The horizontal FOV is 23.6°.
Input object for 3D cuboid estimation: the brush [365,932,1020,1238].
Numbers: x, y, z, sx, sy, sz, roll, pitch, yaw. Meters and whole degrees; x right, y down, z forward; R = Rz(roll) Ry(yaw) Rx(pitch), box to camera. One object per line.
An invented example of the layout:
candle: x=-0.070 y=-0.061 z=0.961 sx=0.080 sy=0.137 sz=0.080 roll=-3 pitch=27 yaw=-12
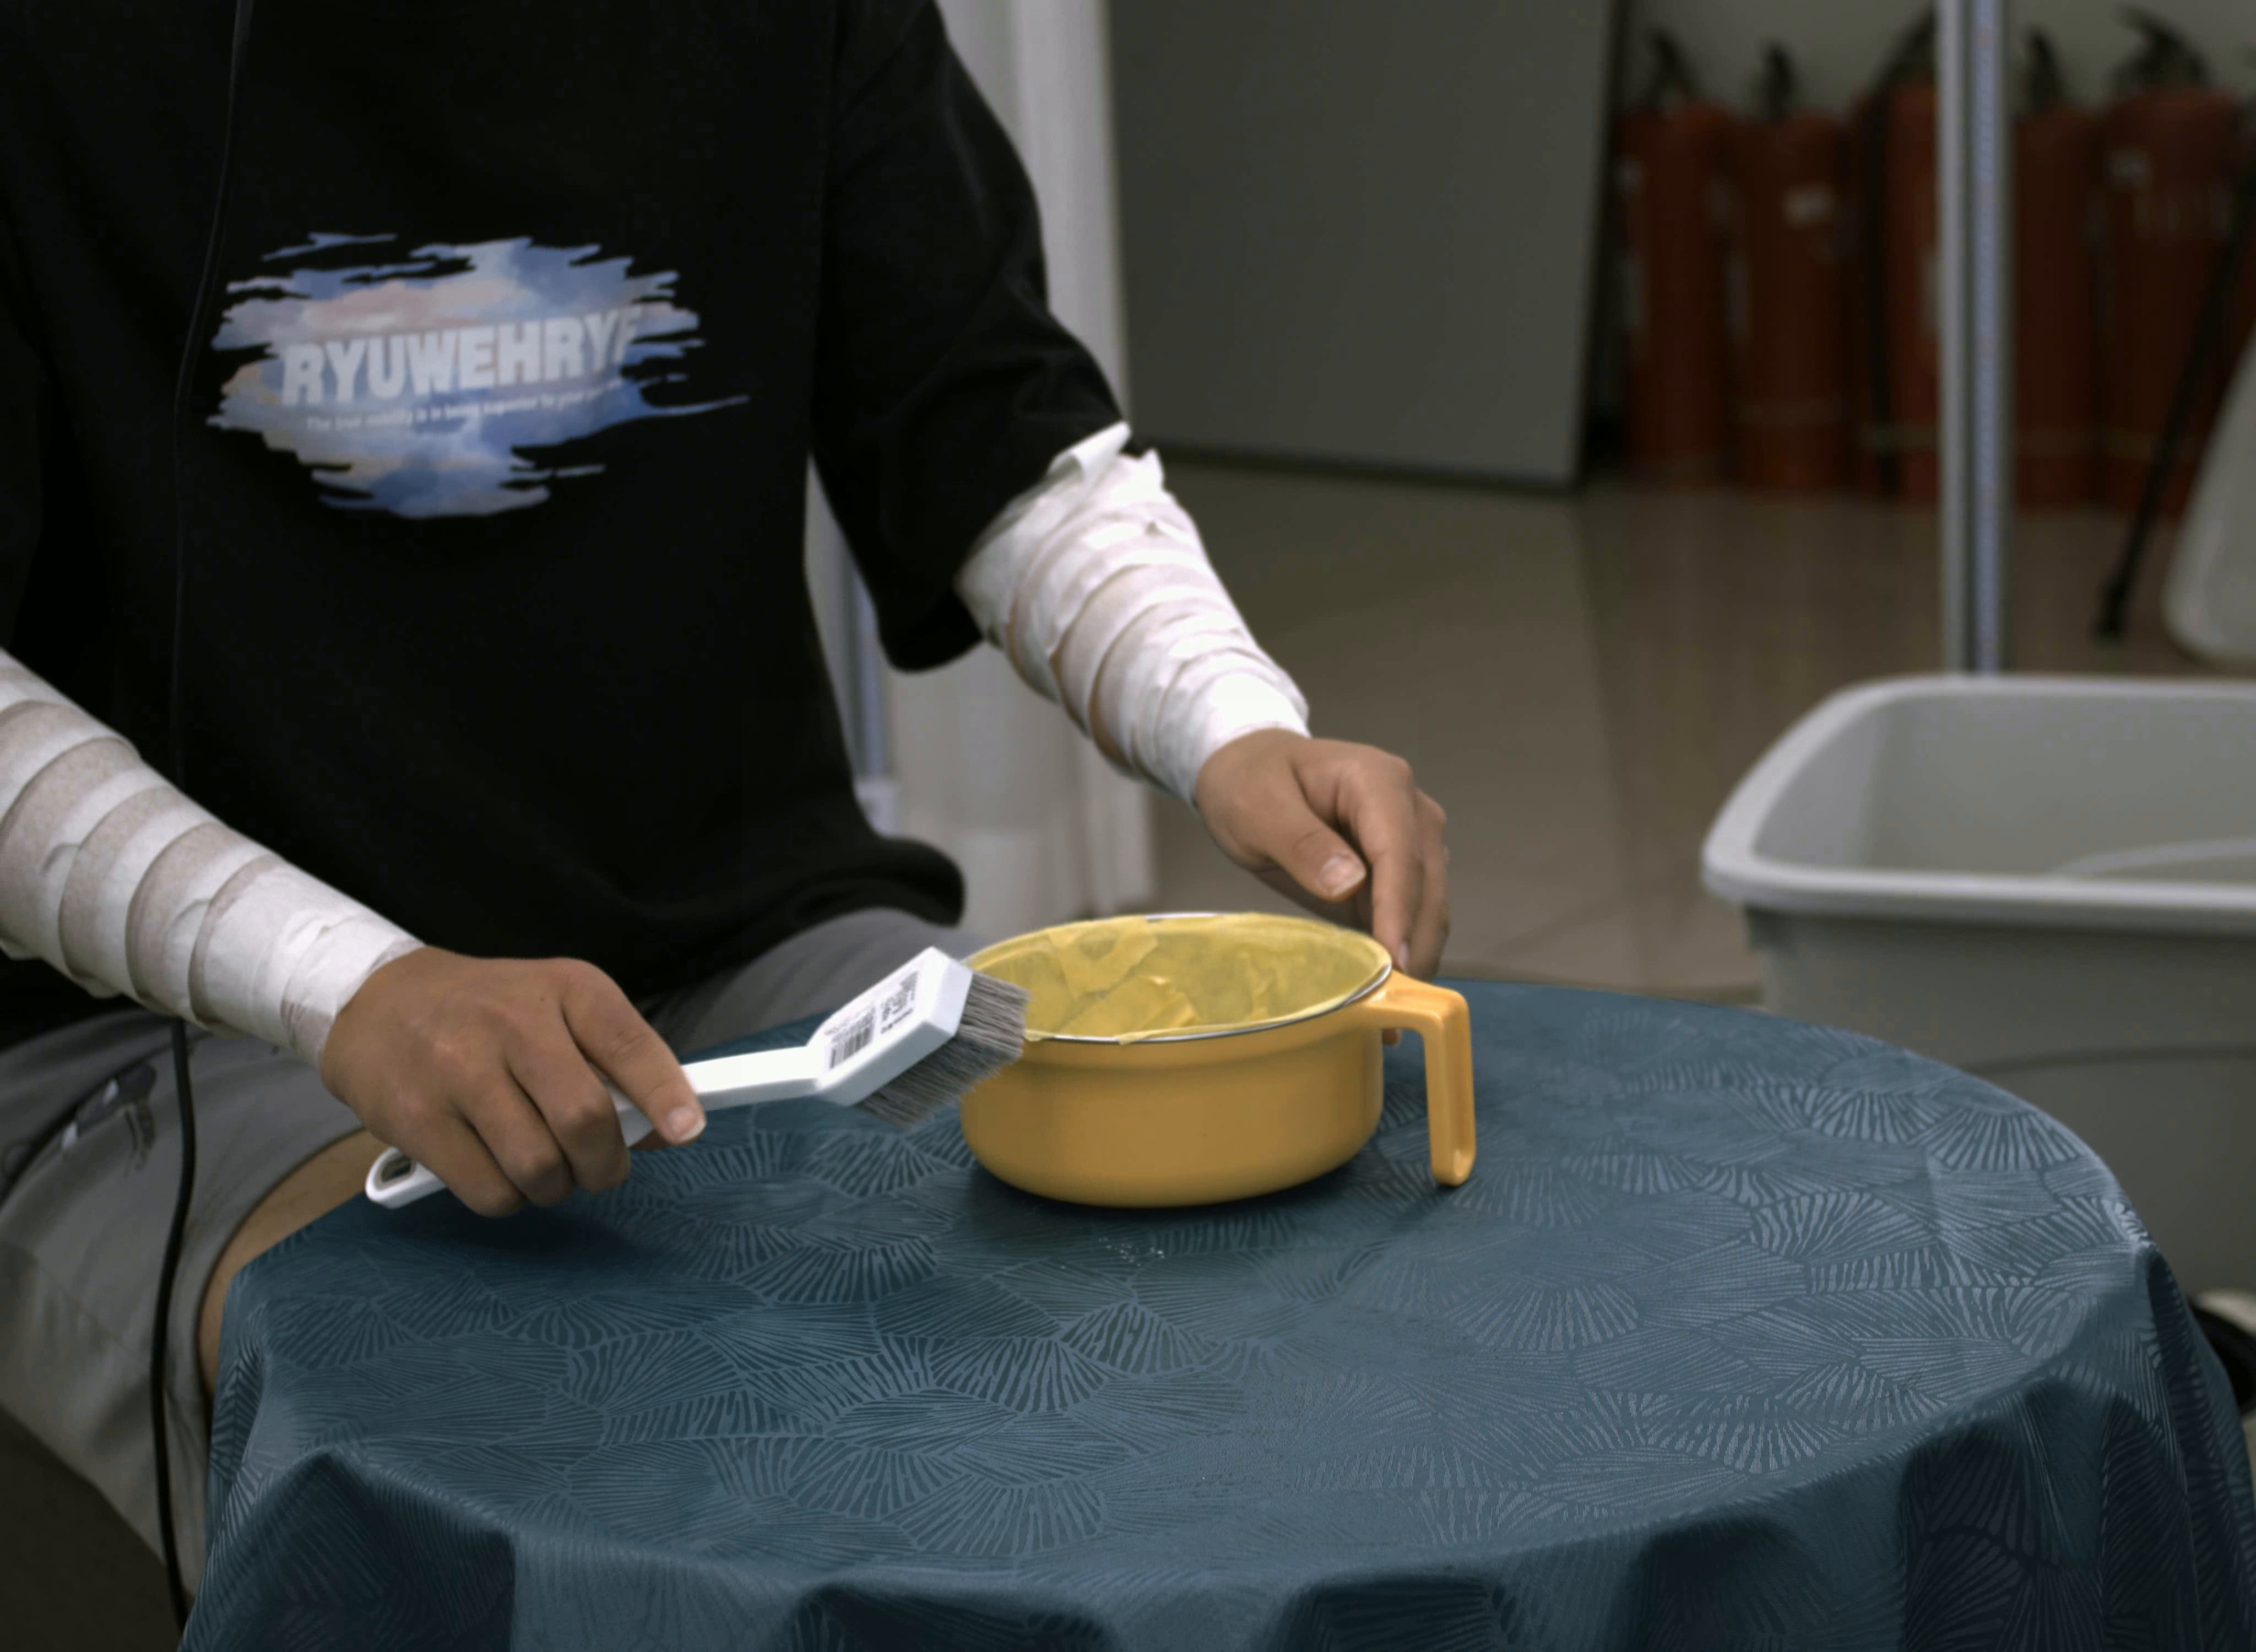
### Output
brush: x=-0.139 y=0.095 z=1.739 sx=0.244 sy=0.049 sz=0.035 roll=-23 pitch=45 yaw=25

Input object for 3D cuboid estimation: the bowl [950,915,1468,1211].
bowl: x=0.025 y=0.081 z=1.785 sx=0.179 sy=0.075 sz=0.151 roll=2 pitch=11 yaw=21
